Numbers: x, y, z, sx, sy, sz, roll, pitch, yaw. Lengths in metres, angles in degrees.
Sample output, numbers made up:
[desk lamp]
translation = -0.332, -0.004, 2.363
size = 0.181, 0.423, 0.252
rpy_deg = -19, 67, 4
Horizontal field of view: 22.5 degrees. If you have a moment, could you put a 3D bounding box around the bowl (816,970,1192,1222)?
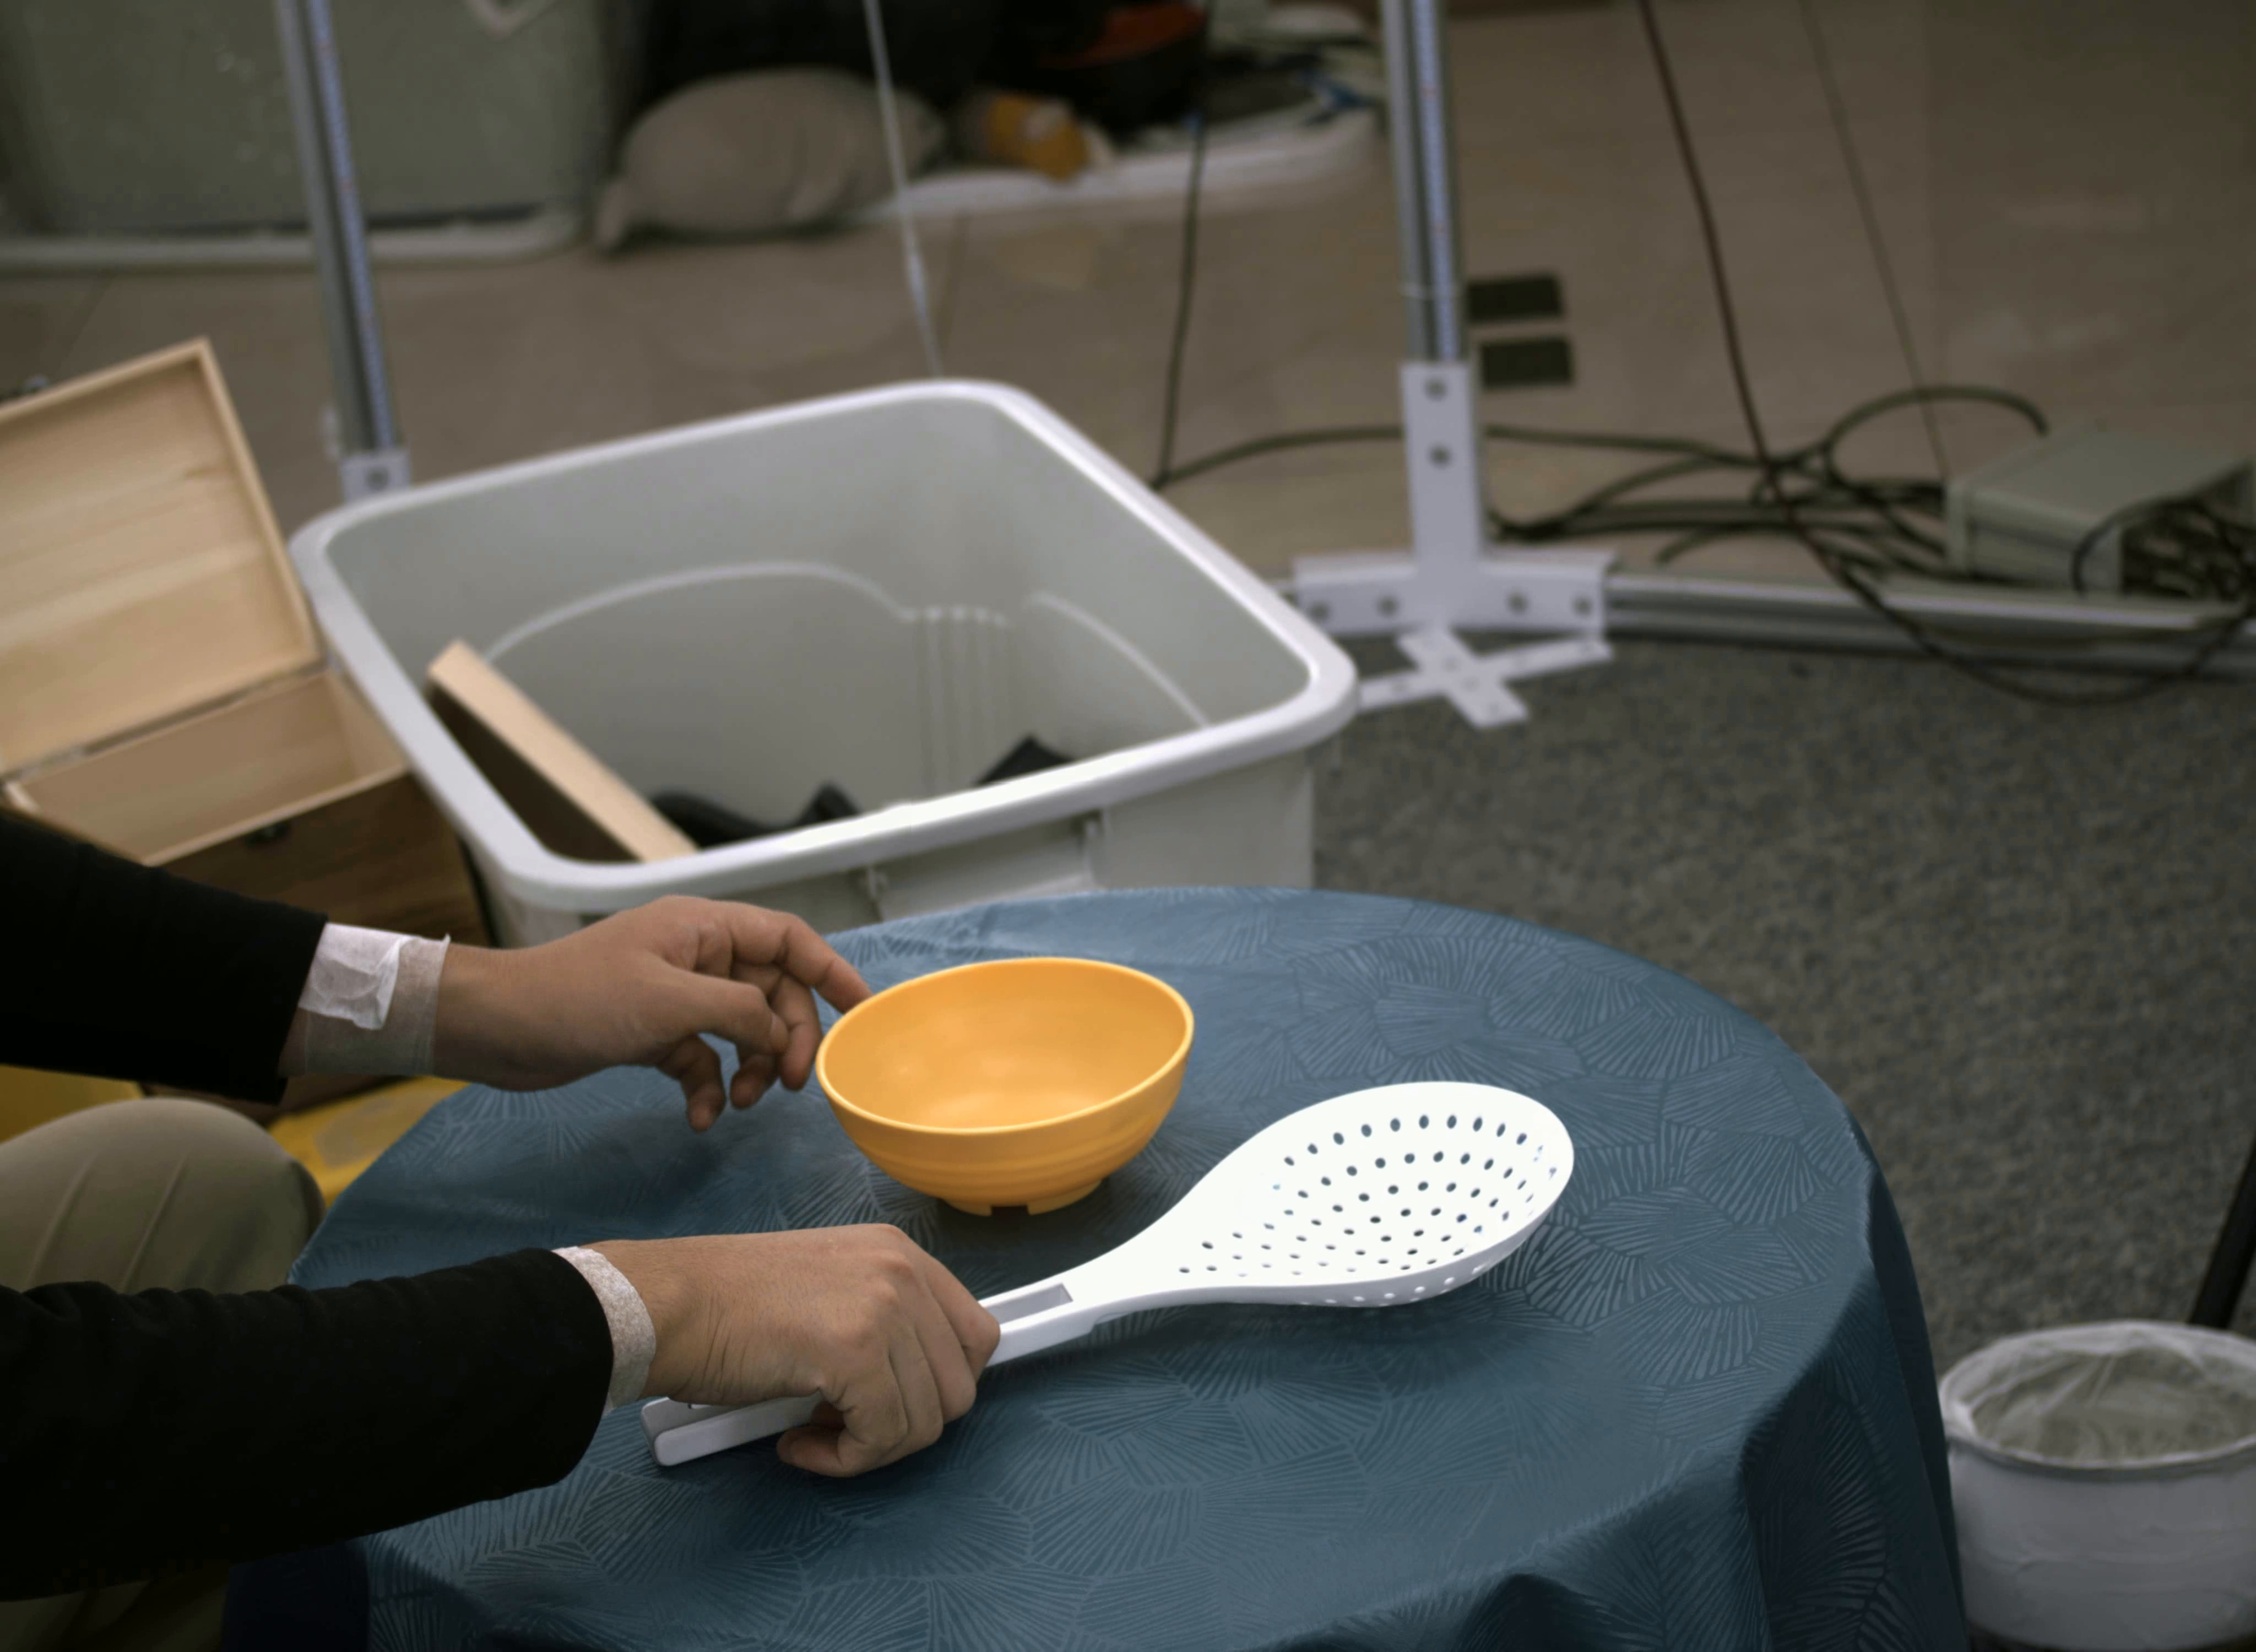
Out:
[bowl]
translation = -0.044, 0.110, 2.155
size = 0.145, 0.061, 0.143
rpy_deg = -5, 23, 2

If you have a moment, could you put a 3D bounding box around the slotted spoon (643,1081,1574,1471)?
[slotted spoon]
translation = -0.005, 0.166, 2.036
size = 0.348, 0.046, 0.134
rpy_deg = -14, 26, -13
